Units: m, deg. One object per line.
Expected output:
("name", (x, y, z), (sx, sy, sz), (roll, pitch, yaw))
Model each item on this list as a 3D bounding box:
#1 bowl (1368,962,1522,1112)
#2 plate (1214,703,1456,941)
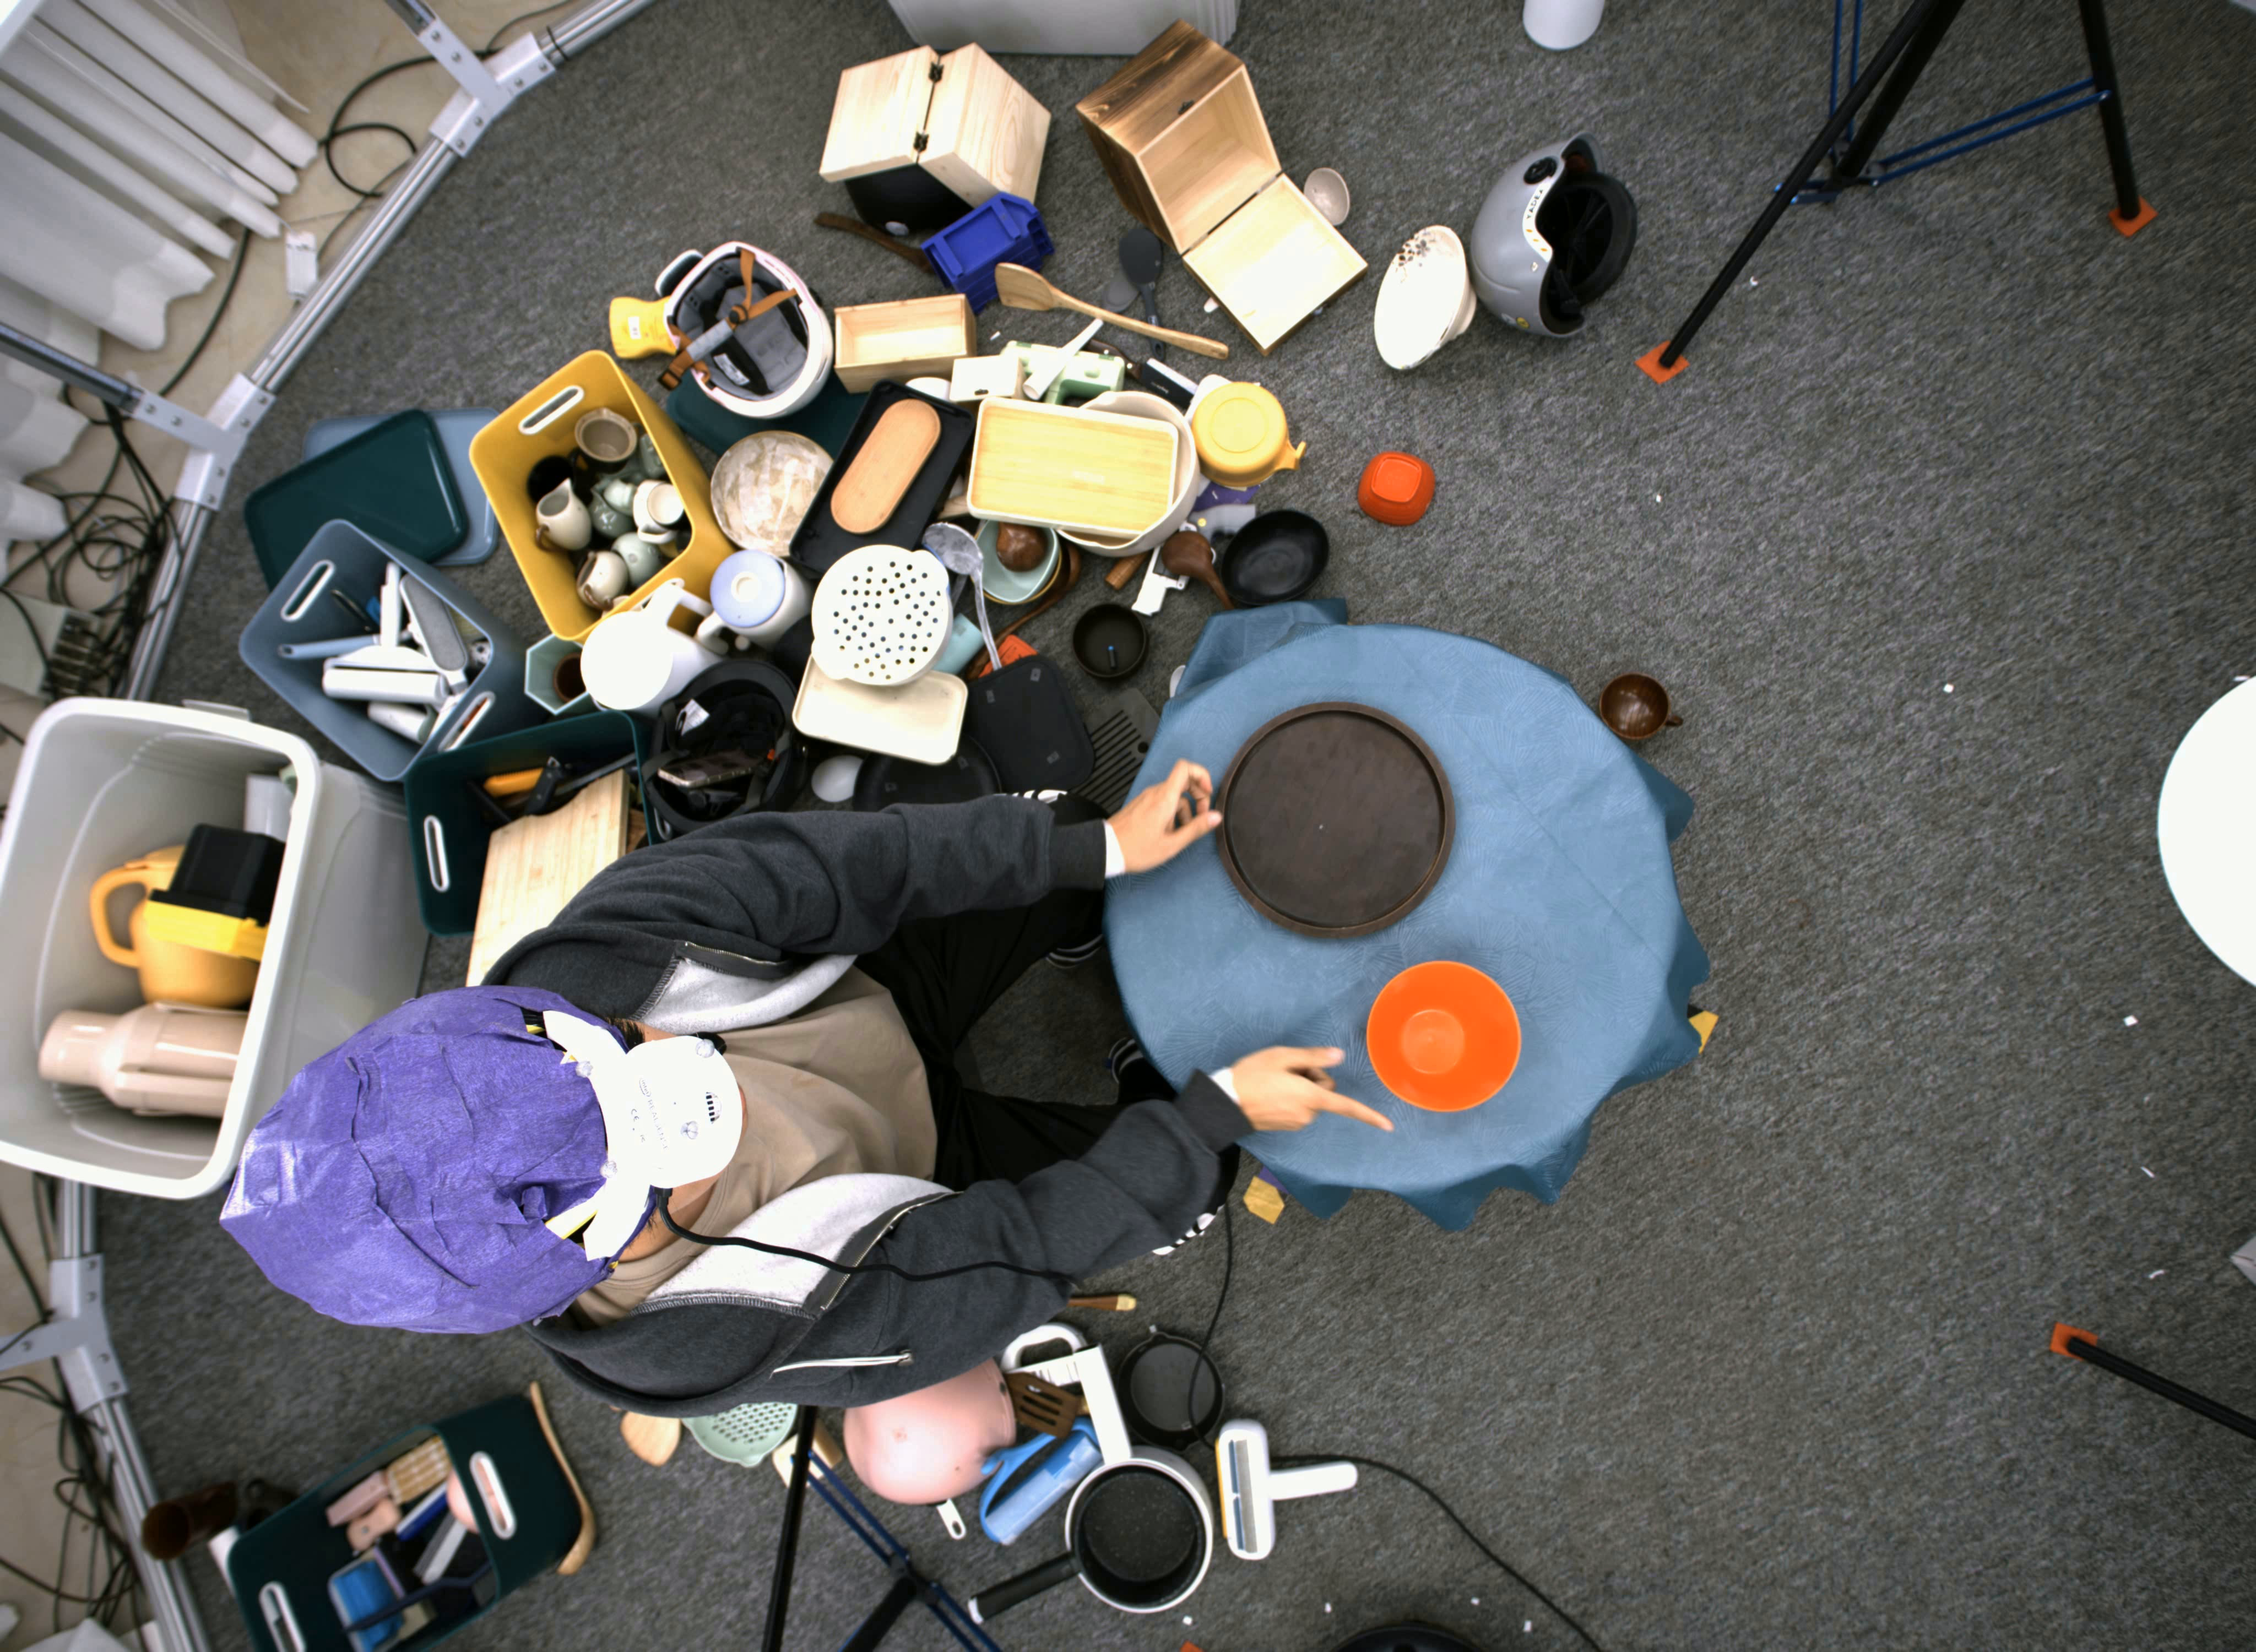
("bowl", (0.316, 0.210, 1.392), (0.148, 0.105, 0.147), (-1, 86, 9))
("plate", (0.217, -0.007, 1.462), (0.256, 0.029, 0.254), (-1, 88, 10))
